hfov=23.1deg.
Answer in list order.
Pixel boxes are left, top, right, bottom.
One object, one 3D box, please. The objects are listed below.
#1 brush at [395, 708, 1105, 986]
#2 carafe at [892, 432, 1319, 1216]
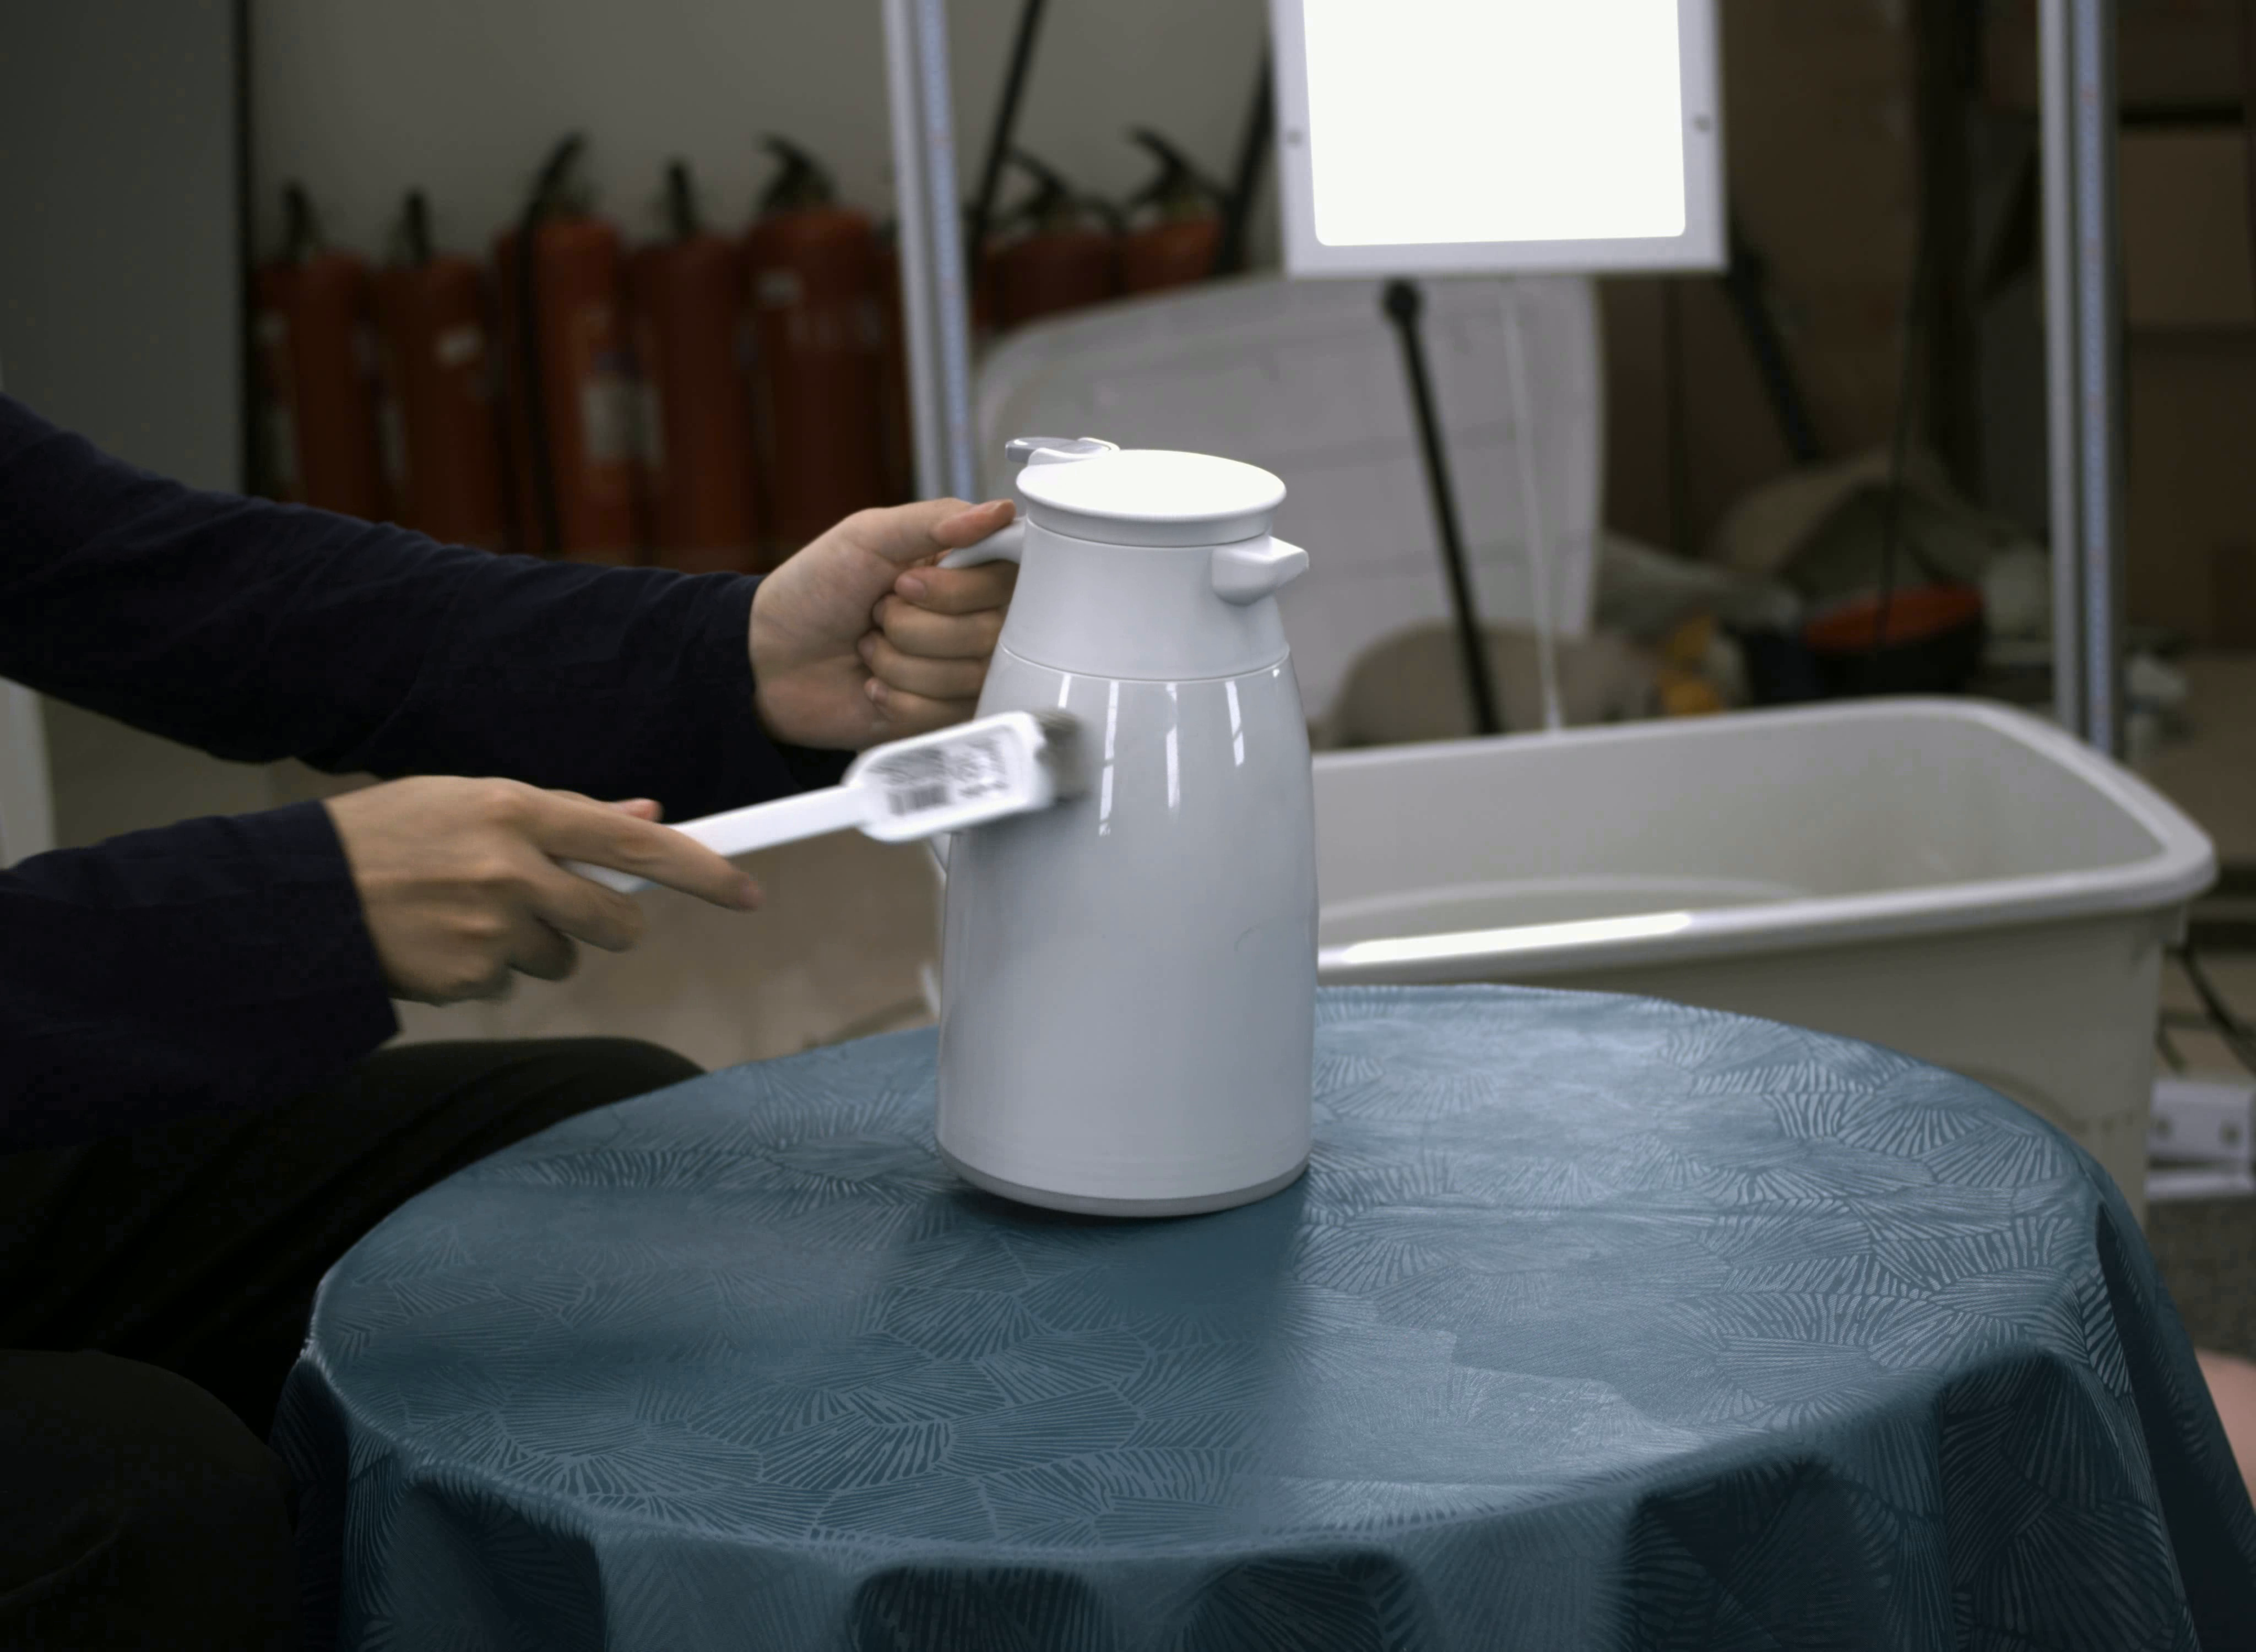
[{"bbox_3d":[-0.126,0.008,1.834,0.245,0.034,0.050,-17,2,12],"label":"brush"},{"bbox_3d":[-0.013,-0.009,1.893,0.171,0.250,0.129,15,22,36],"label":"carafe"}]
